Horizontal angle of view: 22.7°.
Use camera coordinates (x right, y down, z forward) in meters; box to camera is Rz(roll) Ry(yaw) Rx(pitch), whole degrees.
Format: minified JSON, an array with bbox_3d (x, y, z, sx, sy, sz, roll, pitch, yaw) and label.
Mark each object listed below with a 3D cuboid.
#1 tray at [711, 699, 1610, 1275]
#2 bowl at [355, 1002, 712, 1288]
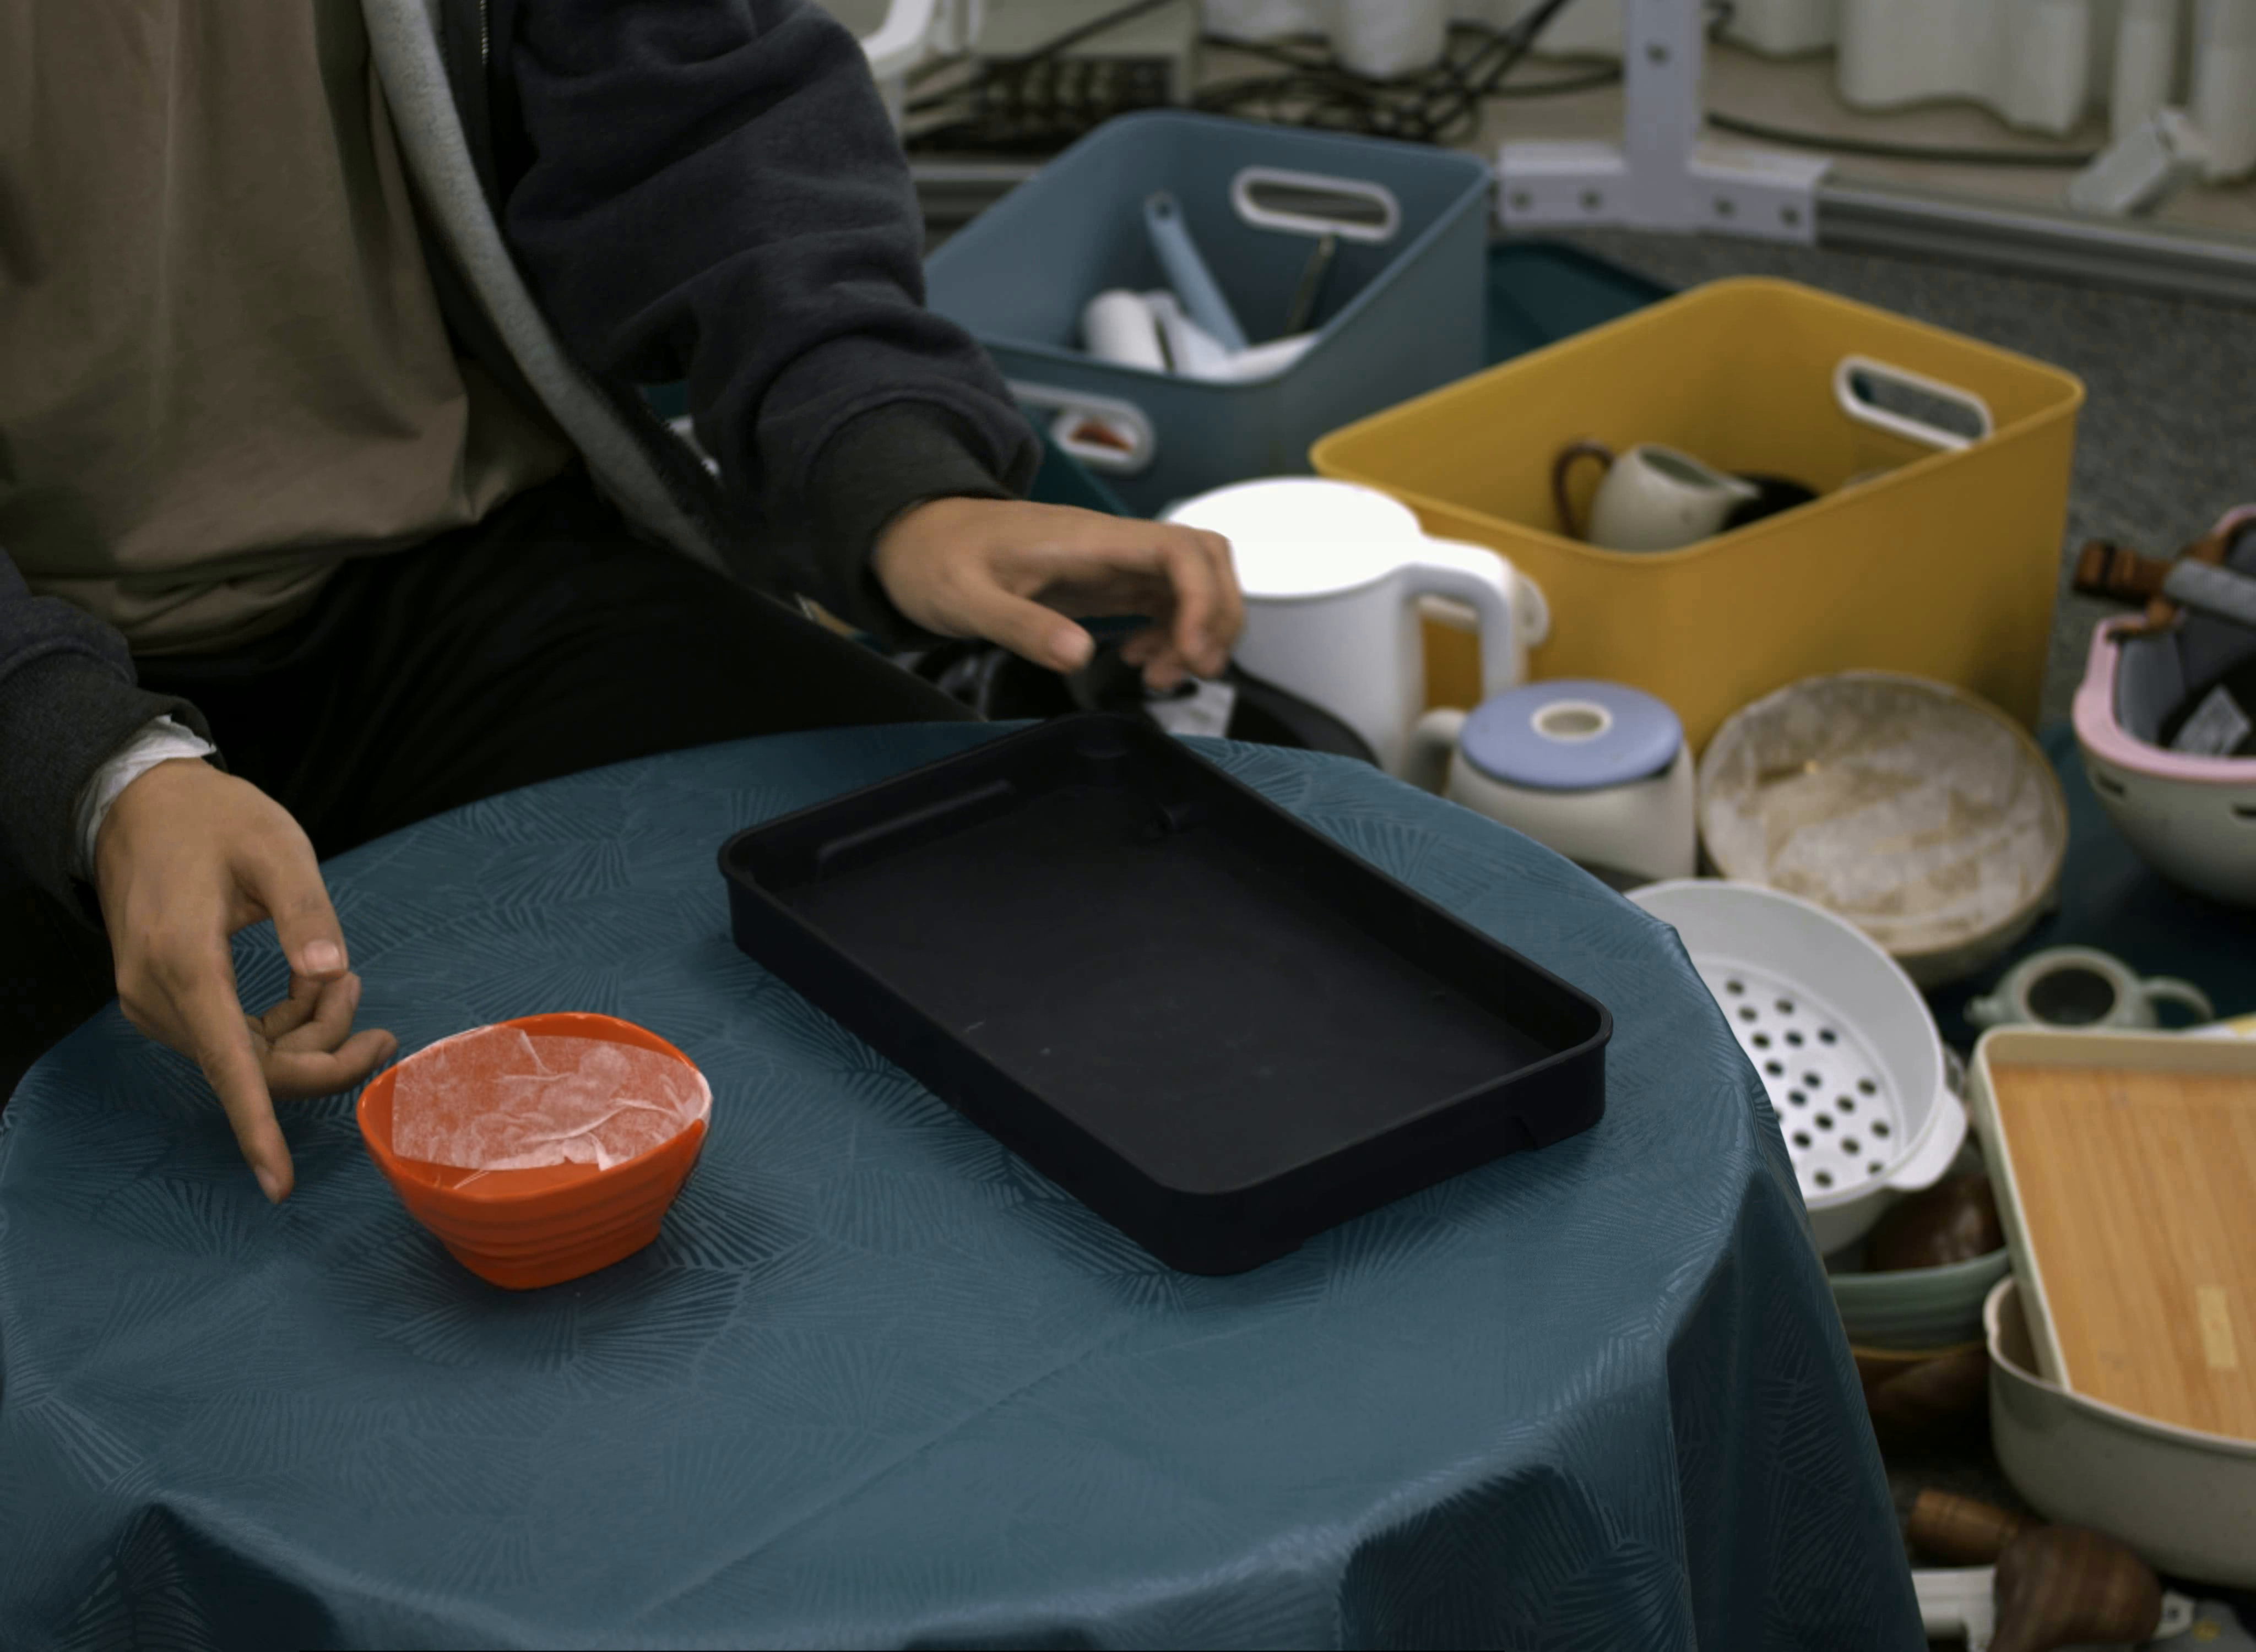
[{"bbox_3d":[0.006,0.050,1.957,0.186,0.036,0.319,-20,33,-29],"label":"tray"},{"bbox_3d":[-0.193,0.110,1.845,0.118,0.051,0.121,-2,29,1],"label":"bowl"}]
